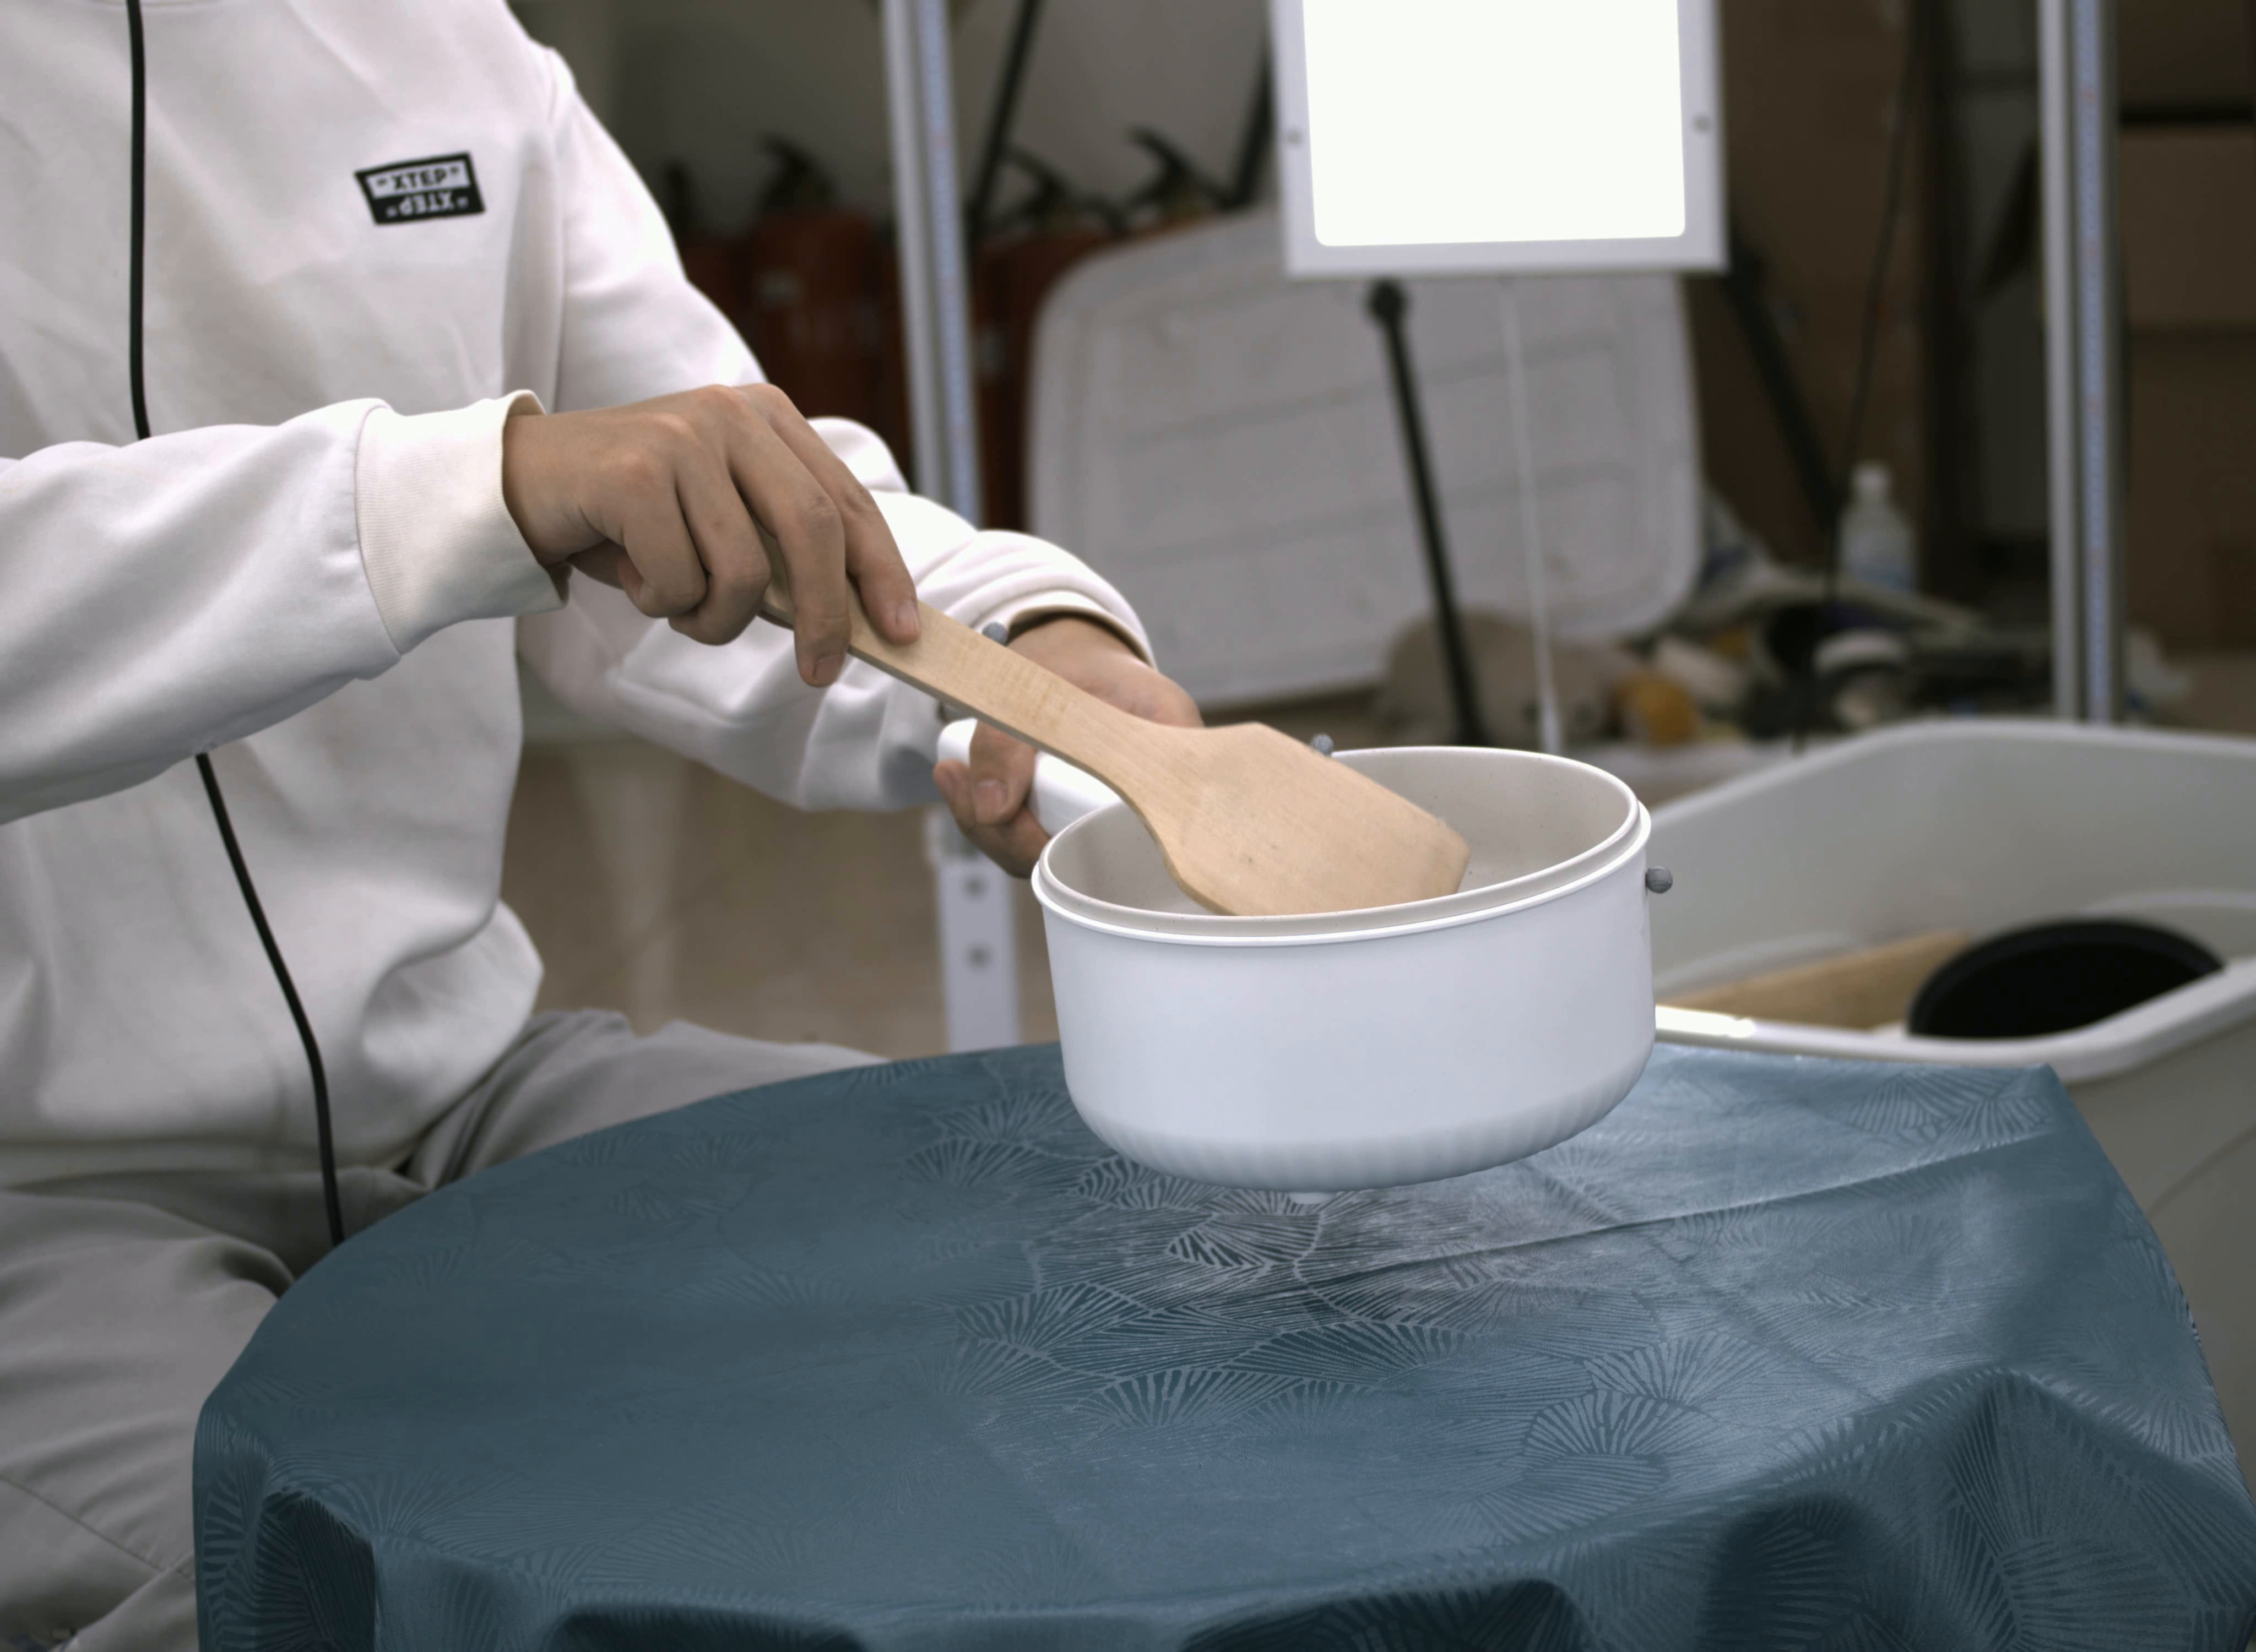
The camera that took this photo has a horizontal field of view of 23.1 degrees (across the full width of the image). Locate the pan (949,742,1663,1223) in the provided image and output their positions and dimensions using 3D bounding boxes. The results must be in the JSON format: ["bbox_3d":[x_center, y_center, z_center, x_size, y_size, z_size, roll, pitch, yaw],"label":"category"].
[{"bbox_3d":[0.039,0.043,1.858,0.197,0.102,0.361,-18,16,-24],"label":"pan"}]
